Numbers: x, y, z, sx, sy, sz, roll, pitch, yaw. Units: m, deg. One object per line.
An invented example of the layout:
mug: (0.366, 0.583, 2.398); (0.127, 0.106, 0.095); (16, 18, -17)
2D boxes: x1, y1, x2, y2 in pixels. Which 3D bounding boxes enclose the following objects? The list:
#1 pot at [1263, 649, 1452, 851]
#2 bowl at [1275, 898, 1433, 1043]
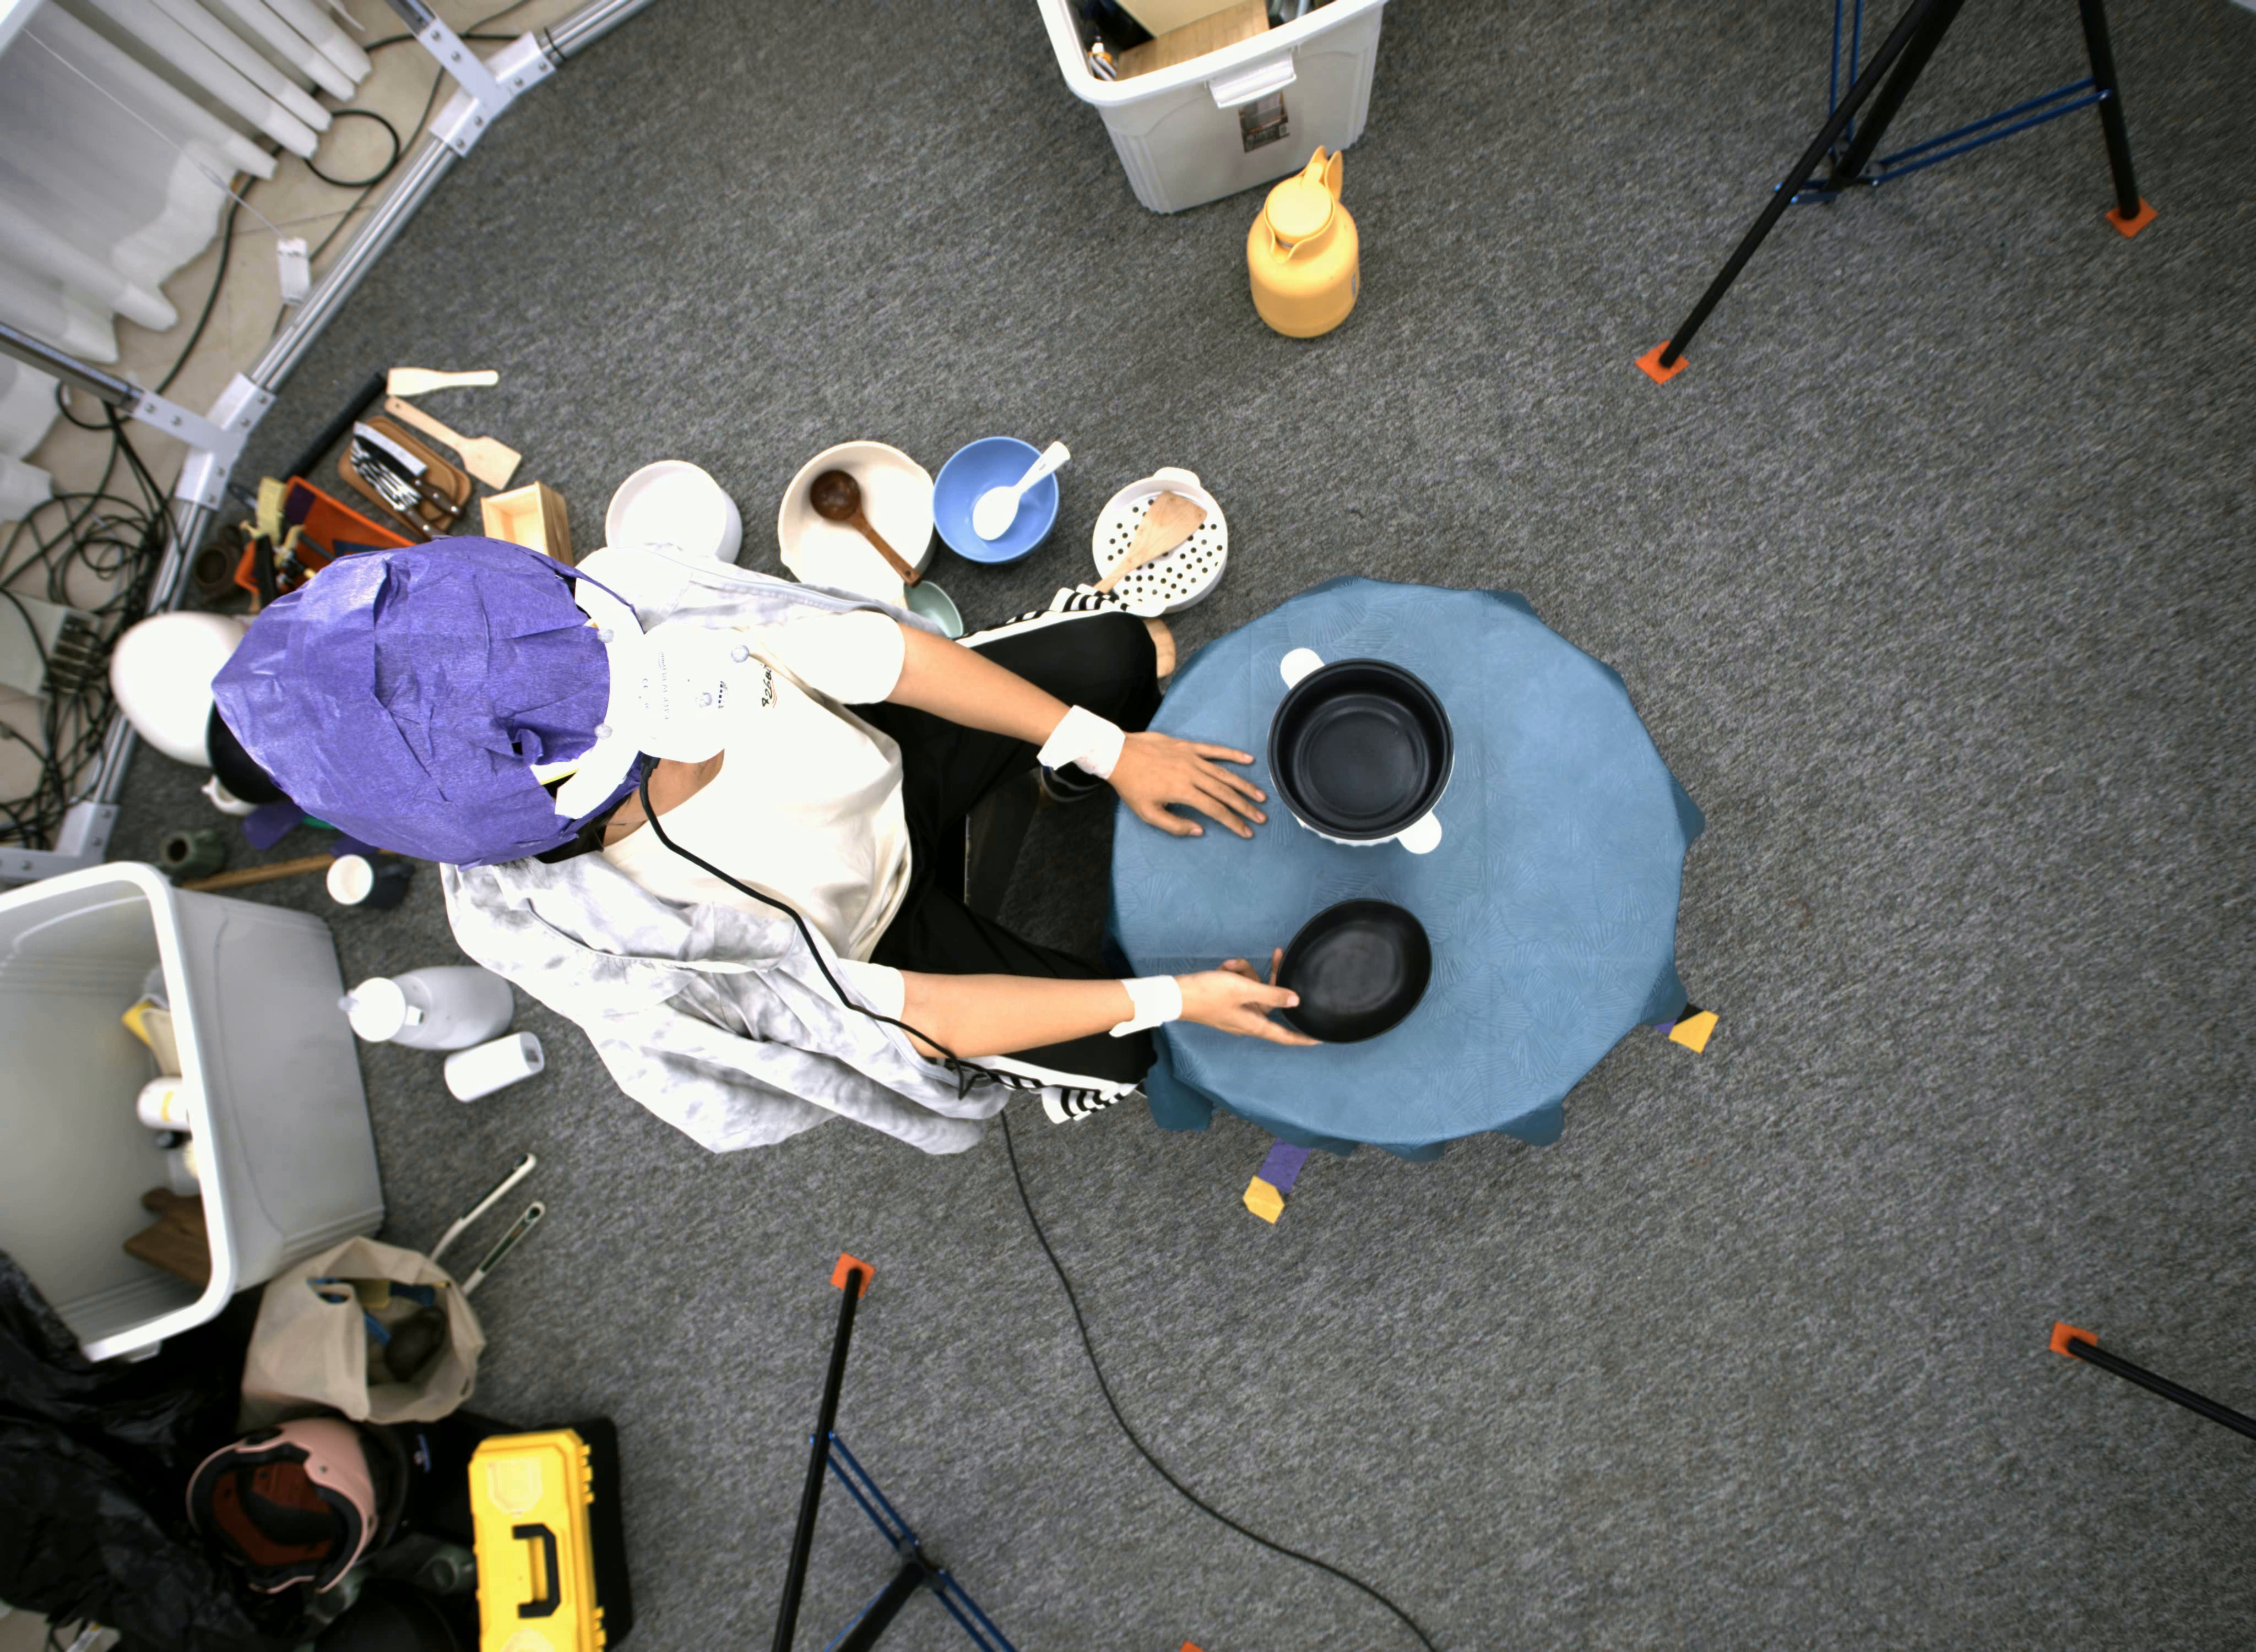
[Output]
pot: (0.239, -0.074, 1.402); (0.192, 0.142, 0.239); (-37, 81, 9)
bowl: (0.234, 0.150, 1.428); (0.171, 0.067, 0.136); (-36, 79, 7)
